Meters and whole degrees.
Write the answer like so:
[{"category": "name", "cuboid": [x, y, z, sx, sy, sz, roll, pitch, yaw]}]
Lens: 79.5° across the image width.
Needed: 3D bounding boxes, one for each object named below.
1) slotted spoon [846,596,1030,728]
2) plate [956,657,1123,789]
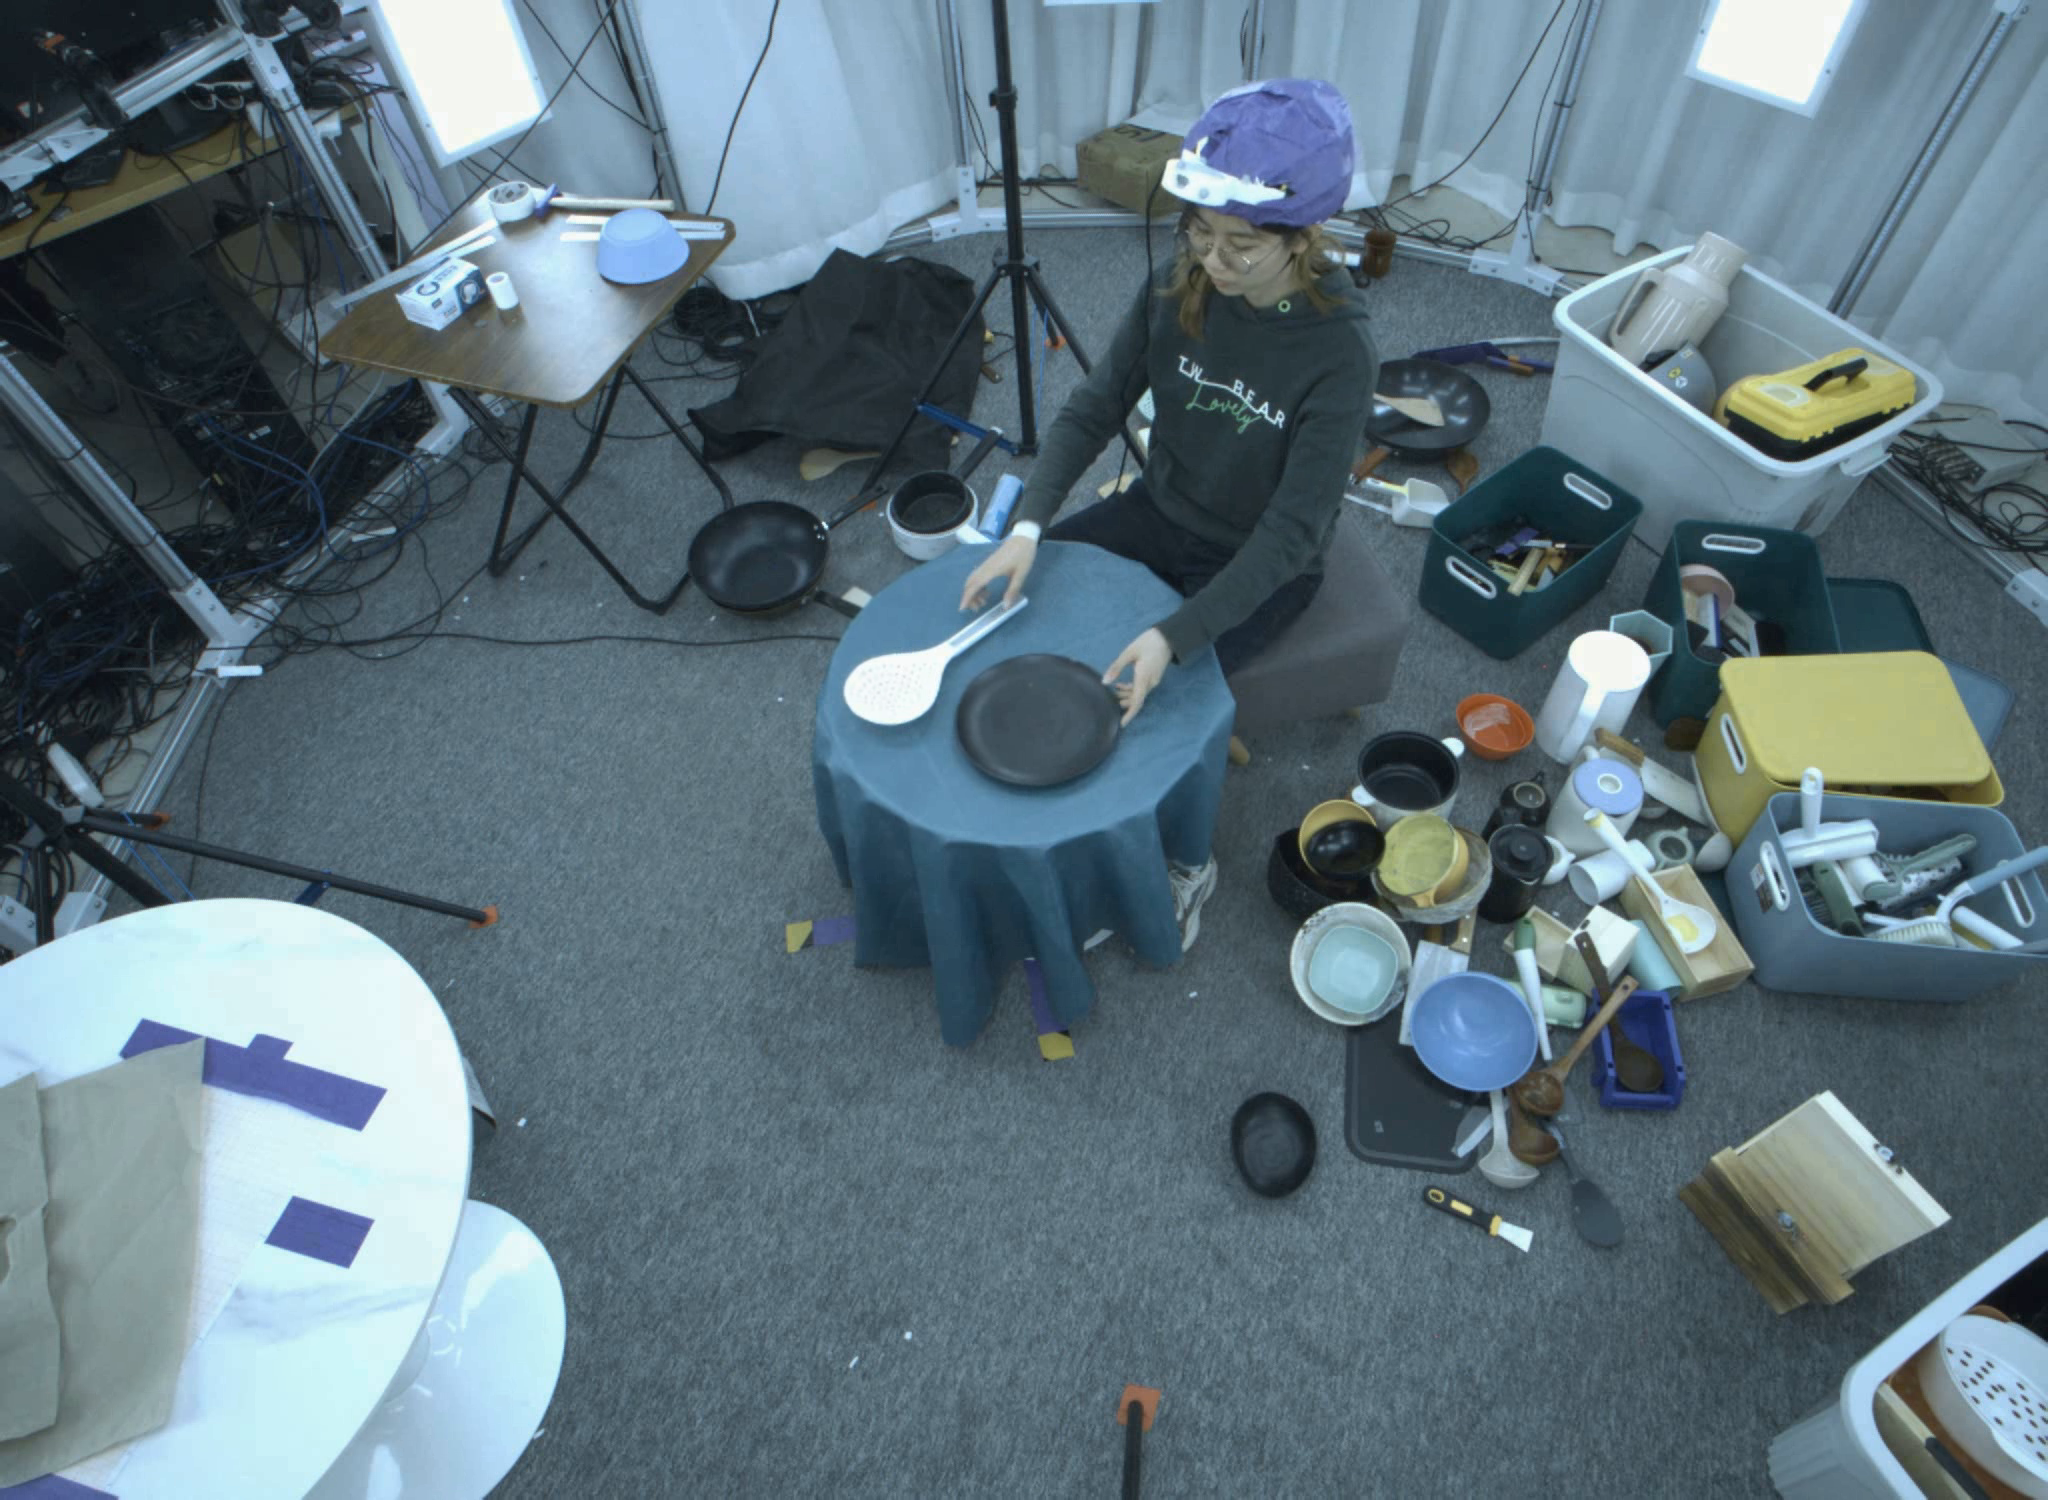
[{"category": "slotted spoon", "cuboid": [-0.120, -0.141, 1.873, 0.134, 0.046, 0.352, 38, 63, 22]}, {"category": "plate", "cuboid": [0.023, -0.038, 1.810, 0.244, 0.024, 0.242, 0, 55, 2]}]
